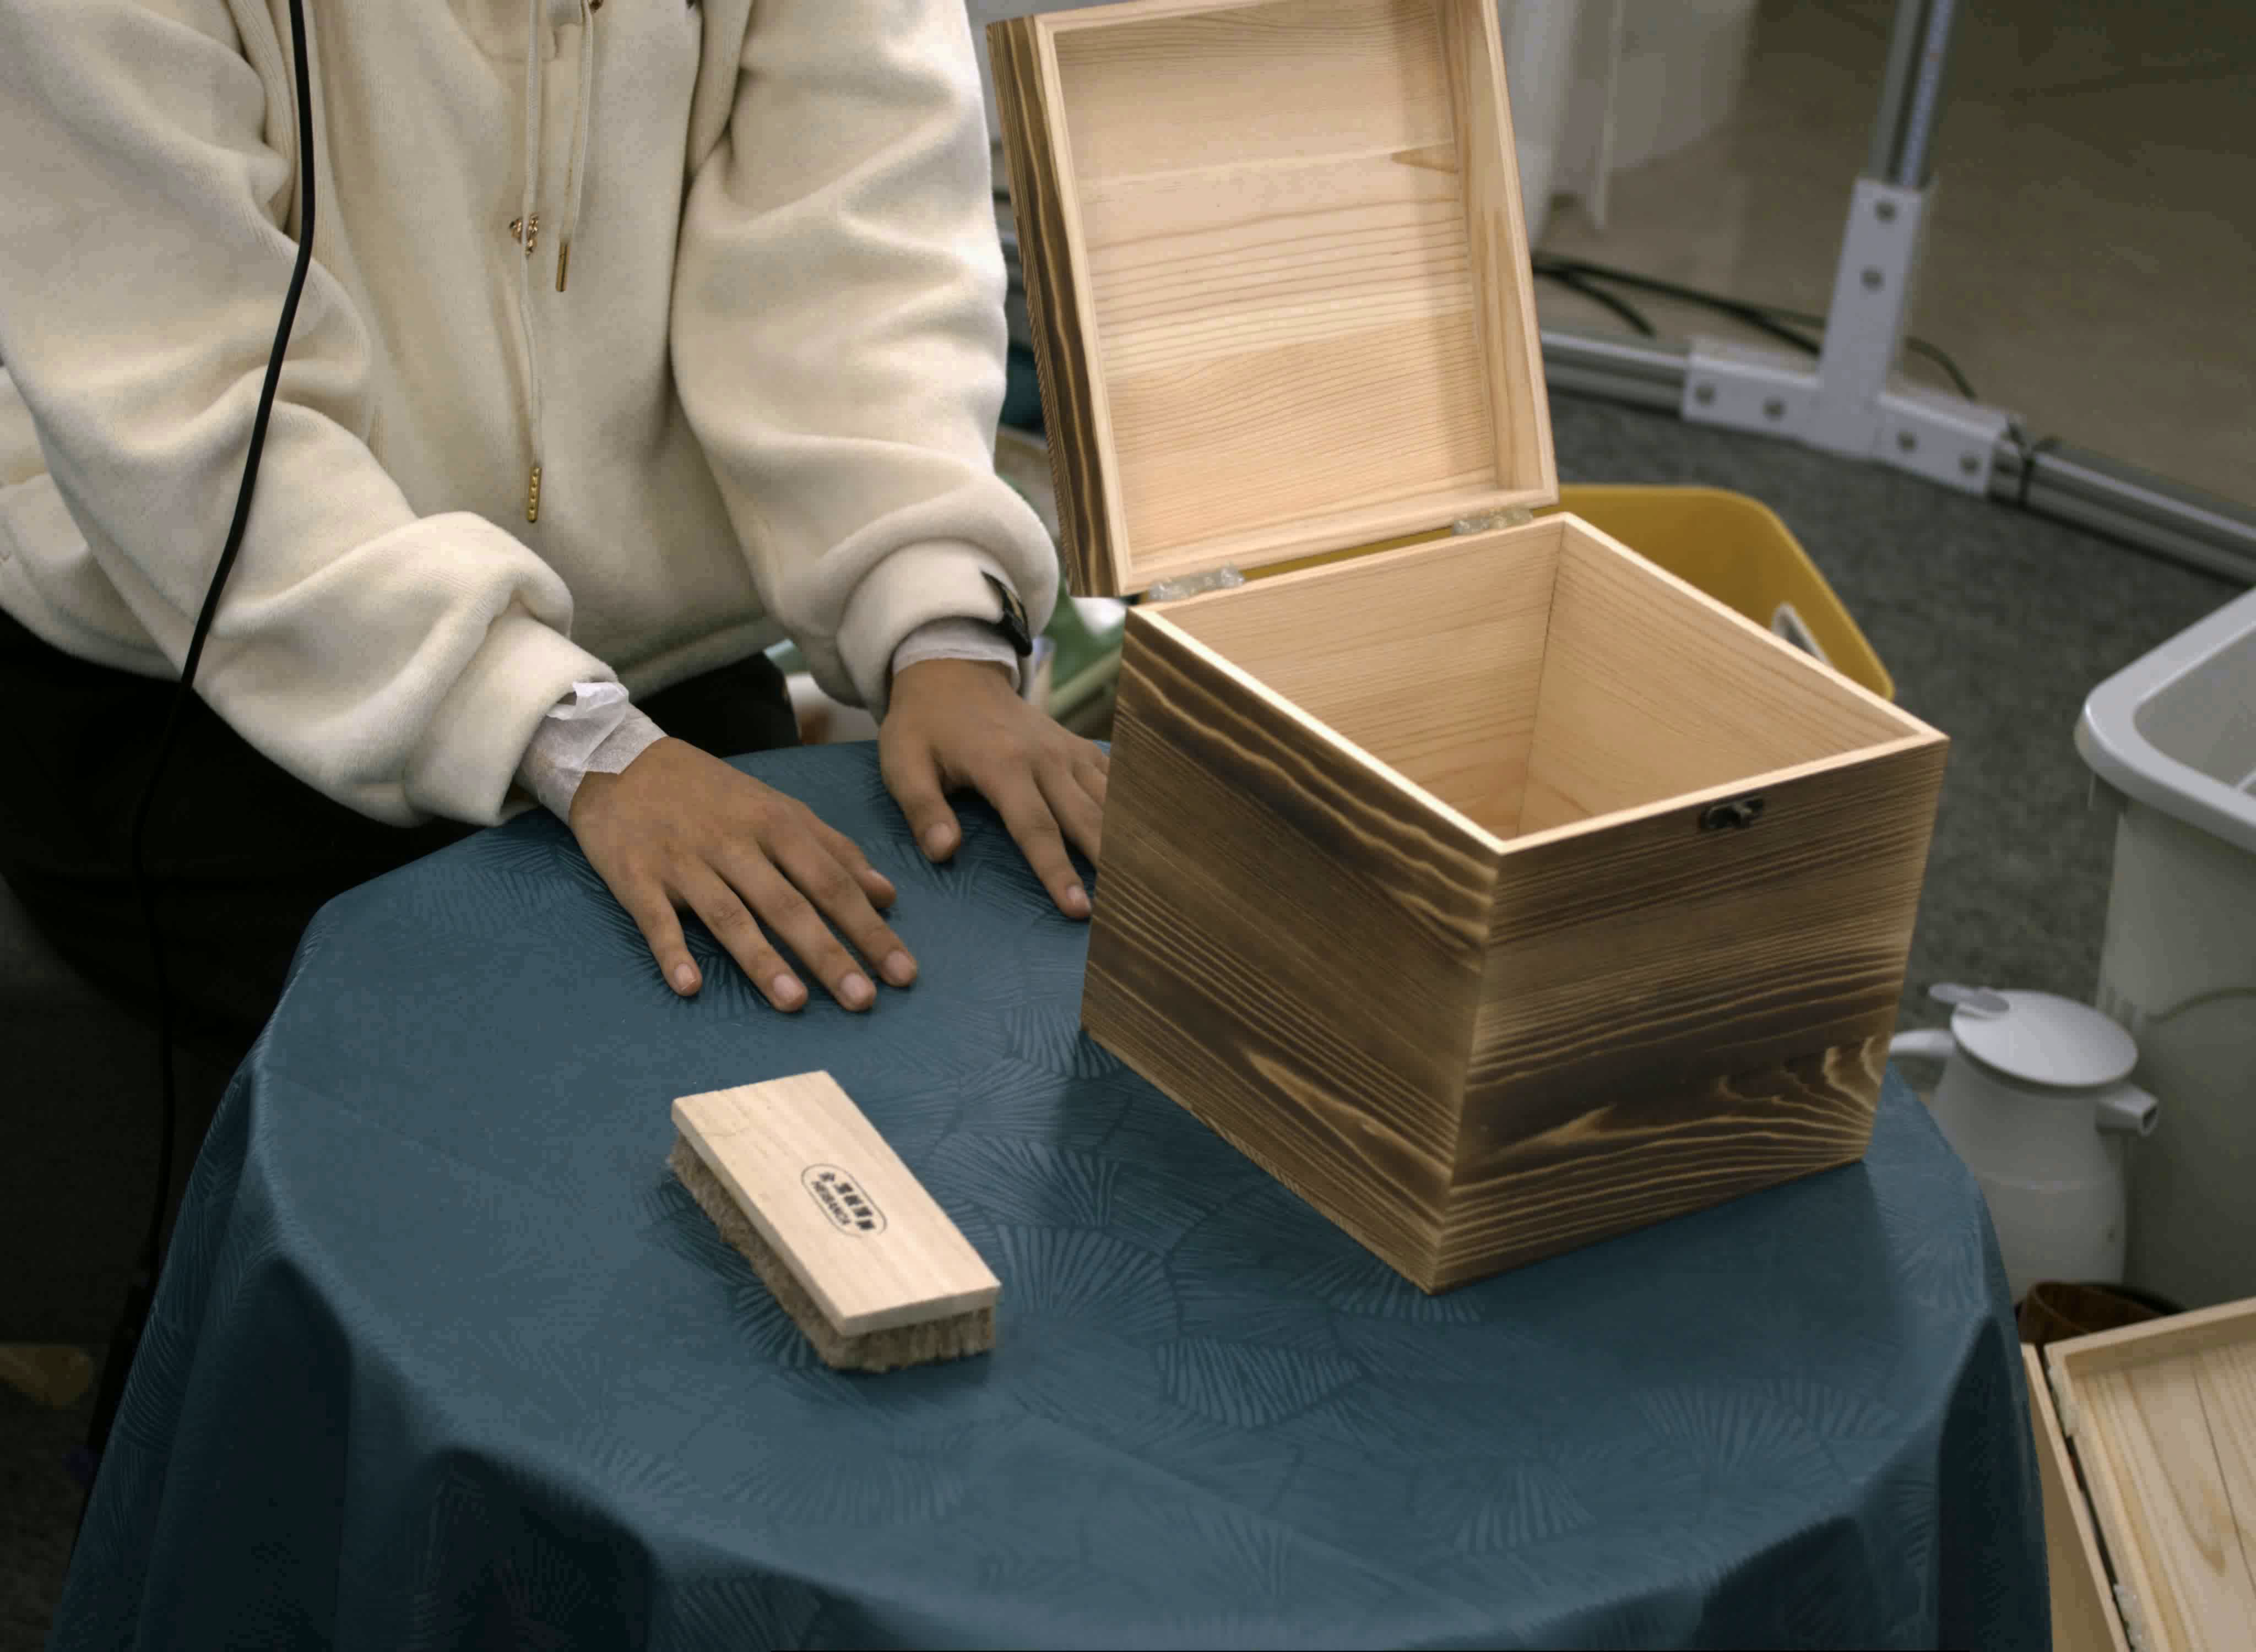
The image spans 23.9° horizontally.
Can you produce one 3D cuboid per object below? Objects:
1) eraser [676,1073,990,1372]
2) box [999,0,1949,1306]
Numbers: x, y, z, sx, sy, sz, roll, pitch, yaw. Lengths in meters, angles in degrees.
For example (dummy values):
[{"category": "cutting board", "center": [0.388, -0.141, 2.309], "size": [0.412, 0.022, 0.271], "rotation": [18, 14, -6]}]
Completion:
[{"category": "eraser", "center": [-0.097, 0.130, 1.736], "size": [0.057, 0.029, 0.140], "rotation": [-10, 30, -24]}, {"category": "box", "center": [0.108, -0.086, 1.837], "size": [0.207, 0.374, 0.325], "rotation": [-14, 34, -34]}]
